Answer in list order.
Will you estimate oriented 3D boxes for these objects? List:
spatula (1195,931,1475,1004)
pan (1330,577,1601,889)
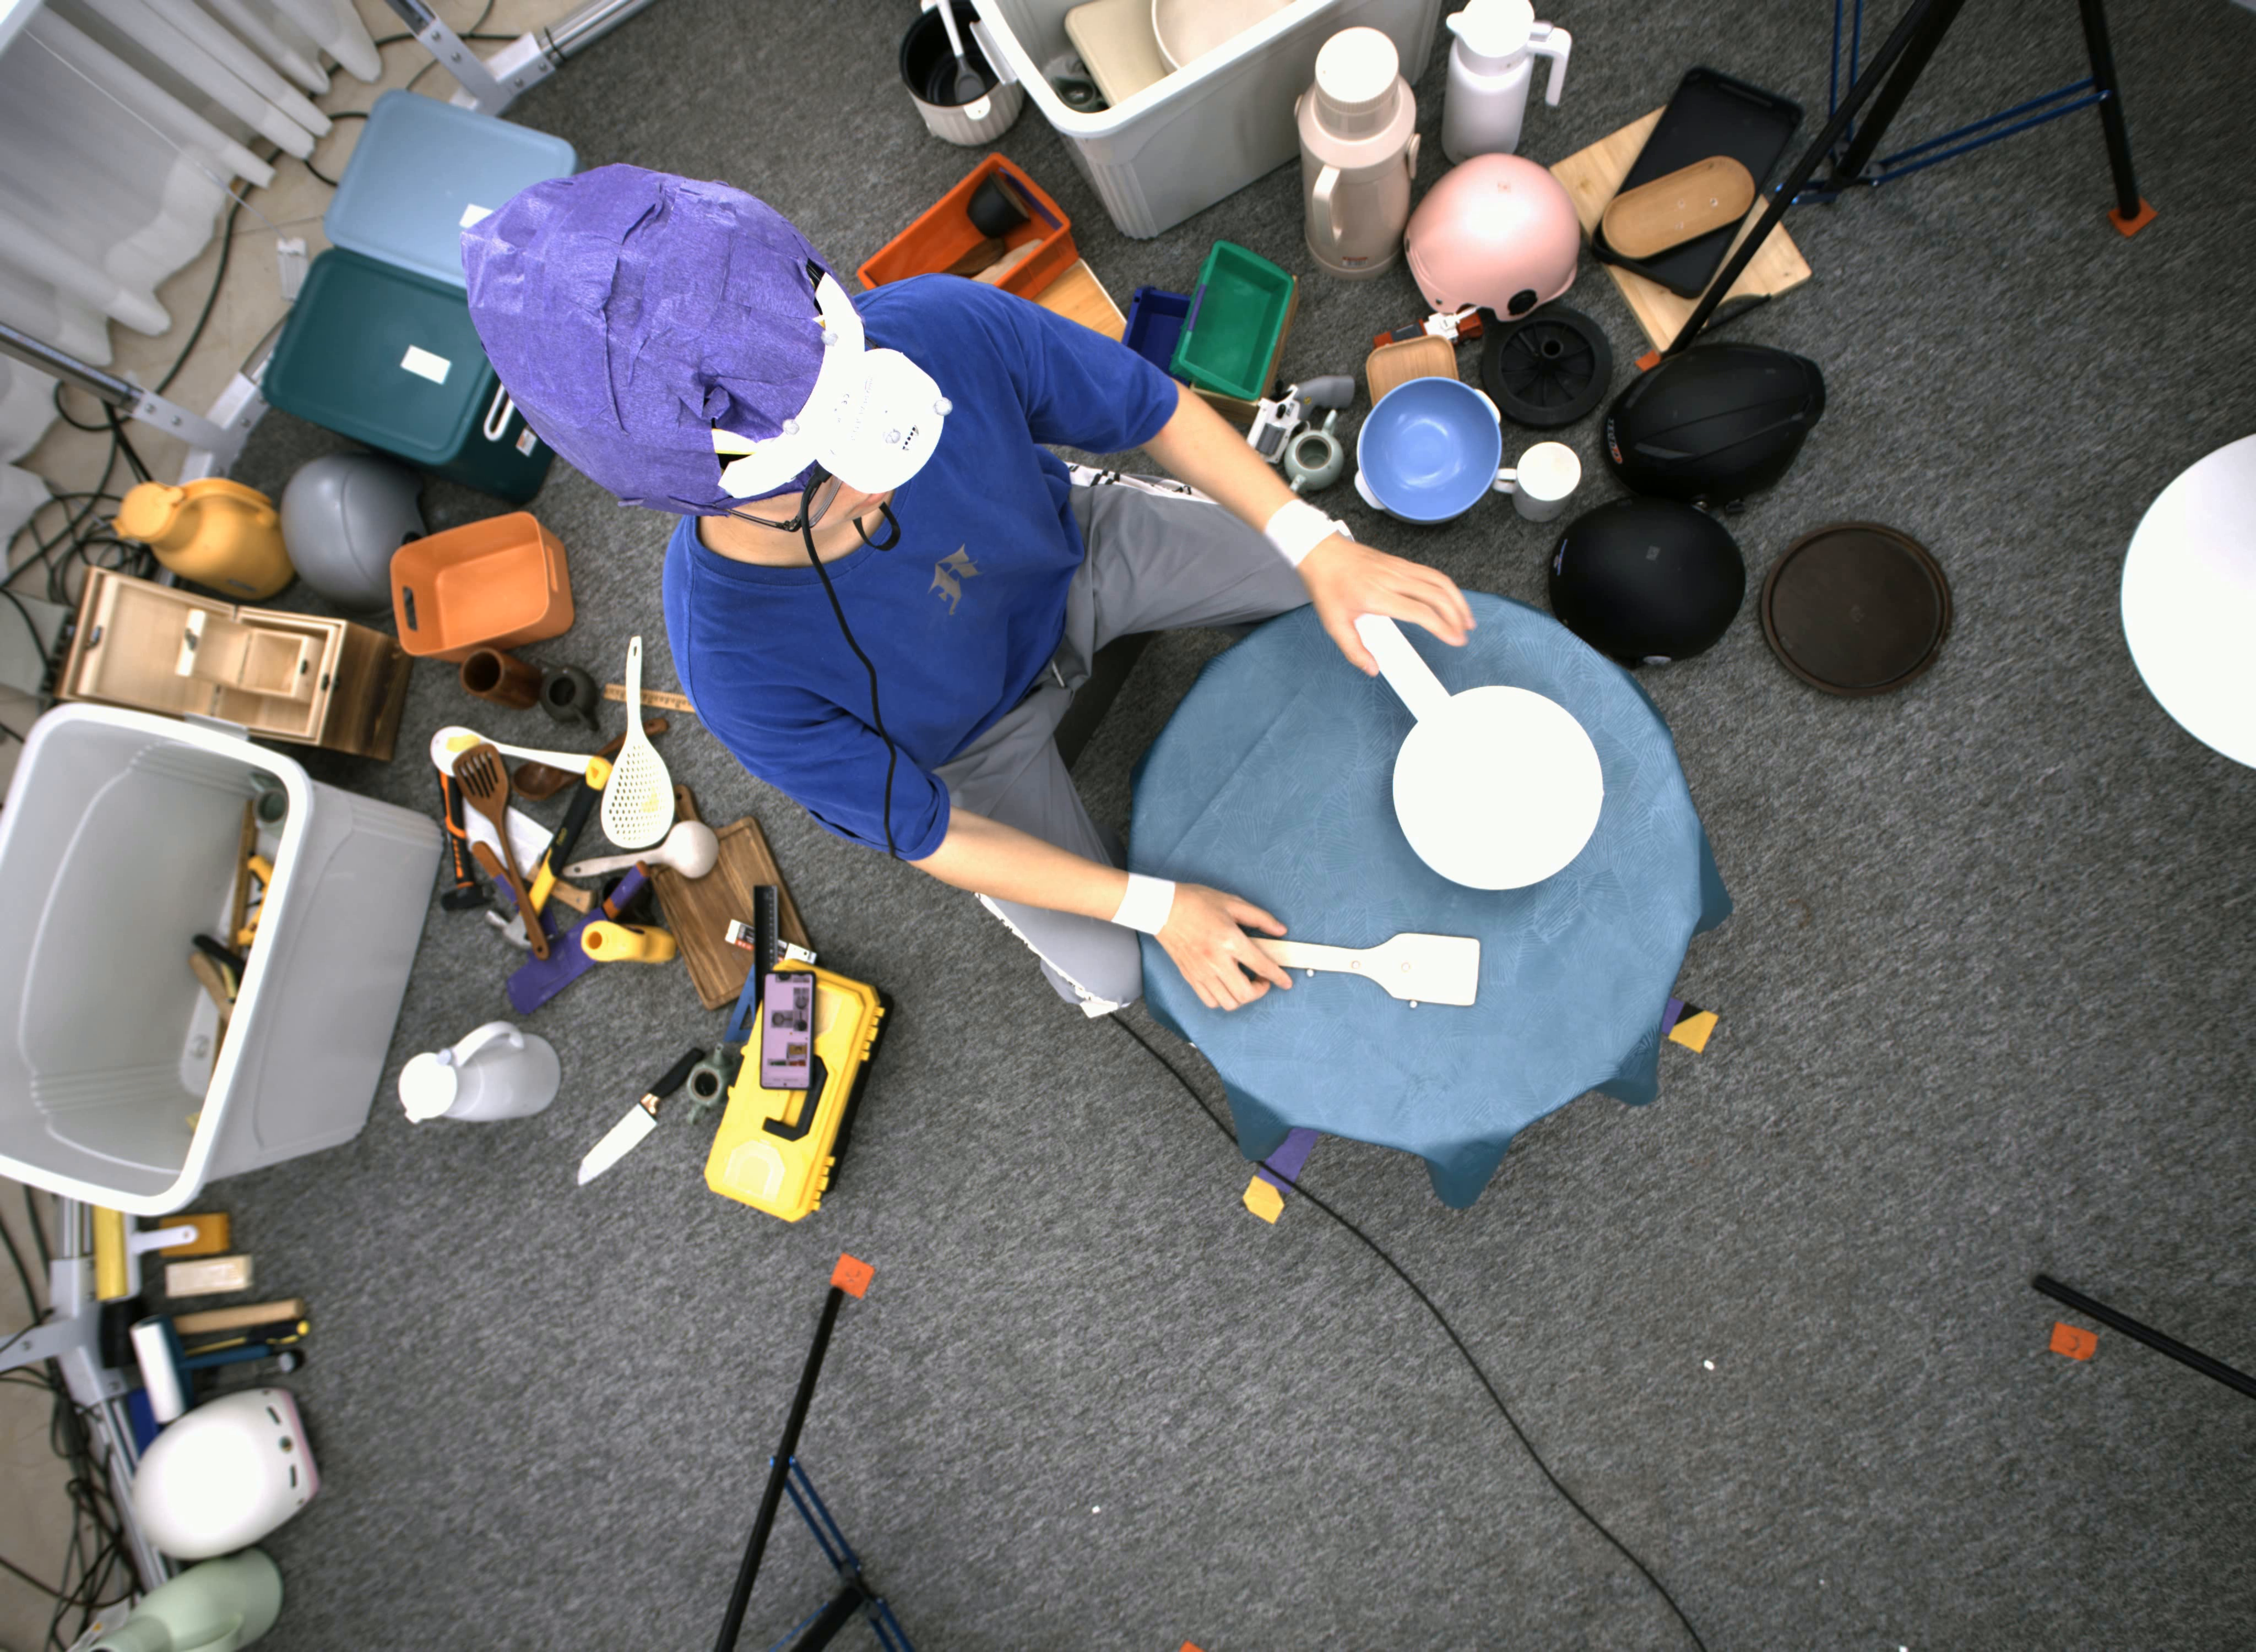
[{"bbox_3d":[0.216,0.138,1.460,0.294,0.010,0.072,5,89,10],"label":"spatula"},{"bbox_3d":[0.327,-0.098,1.407,0.202,0.102,0.353,-37,81,8],"label":"pan"}]
